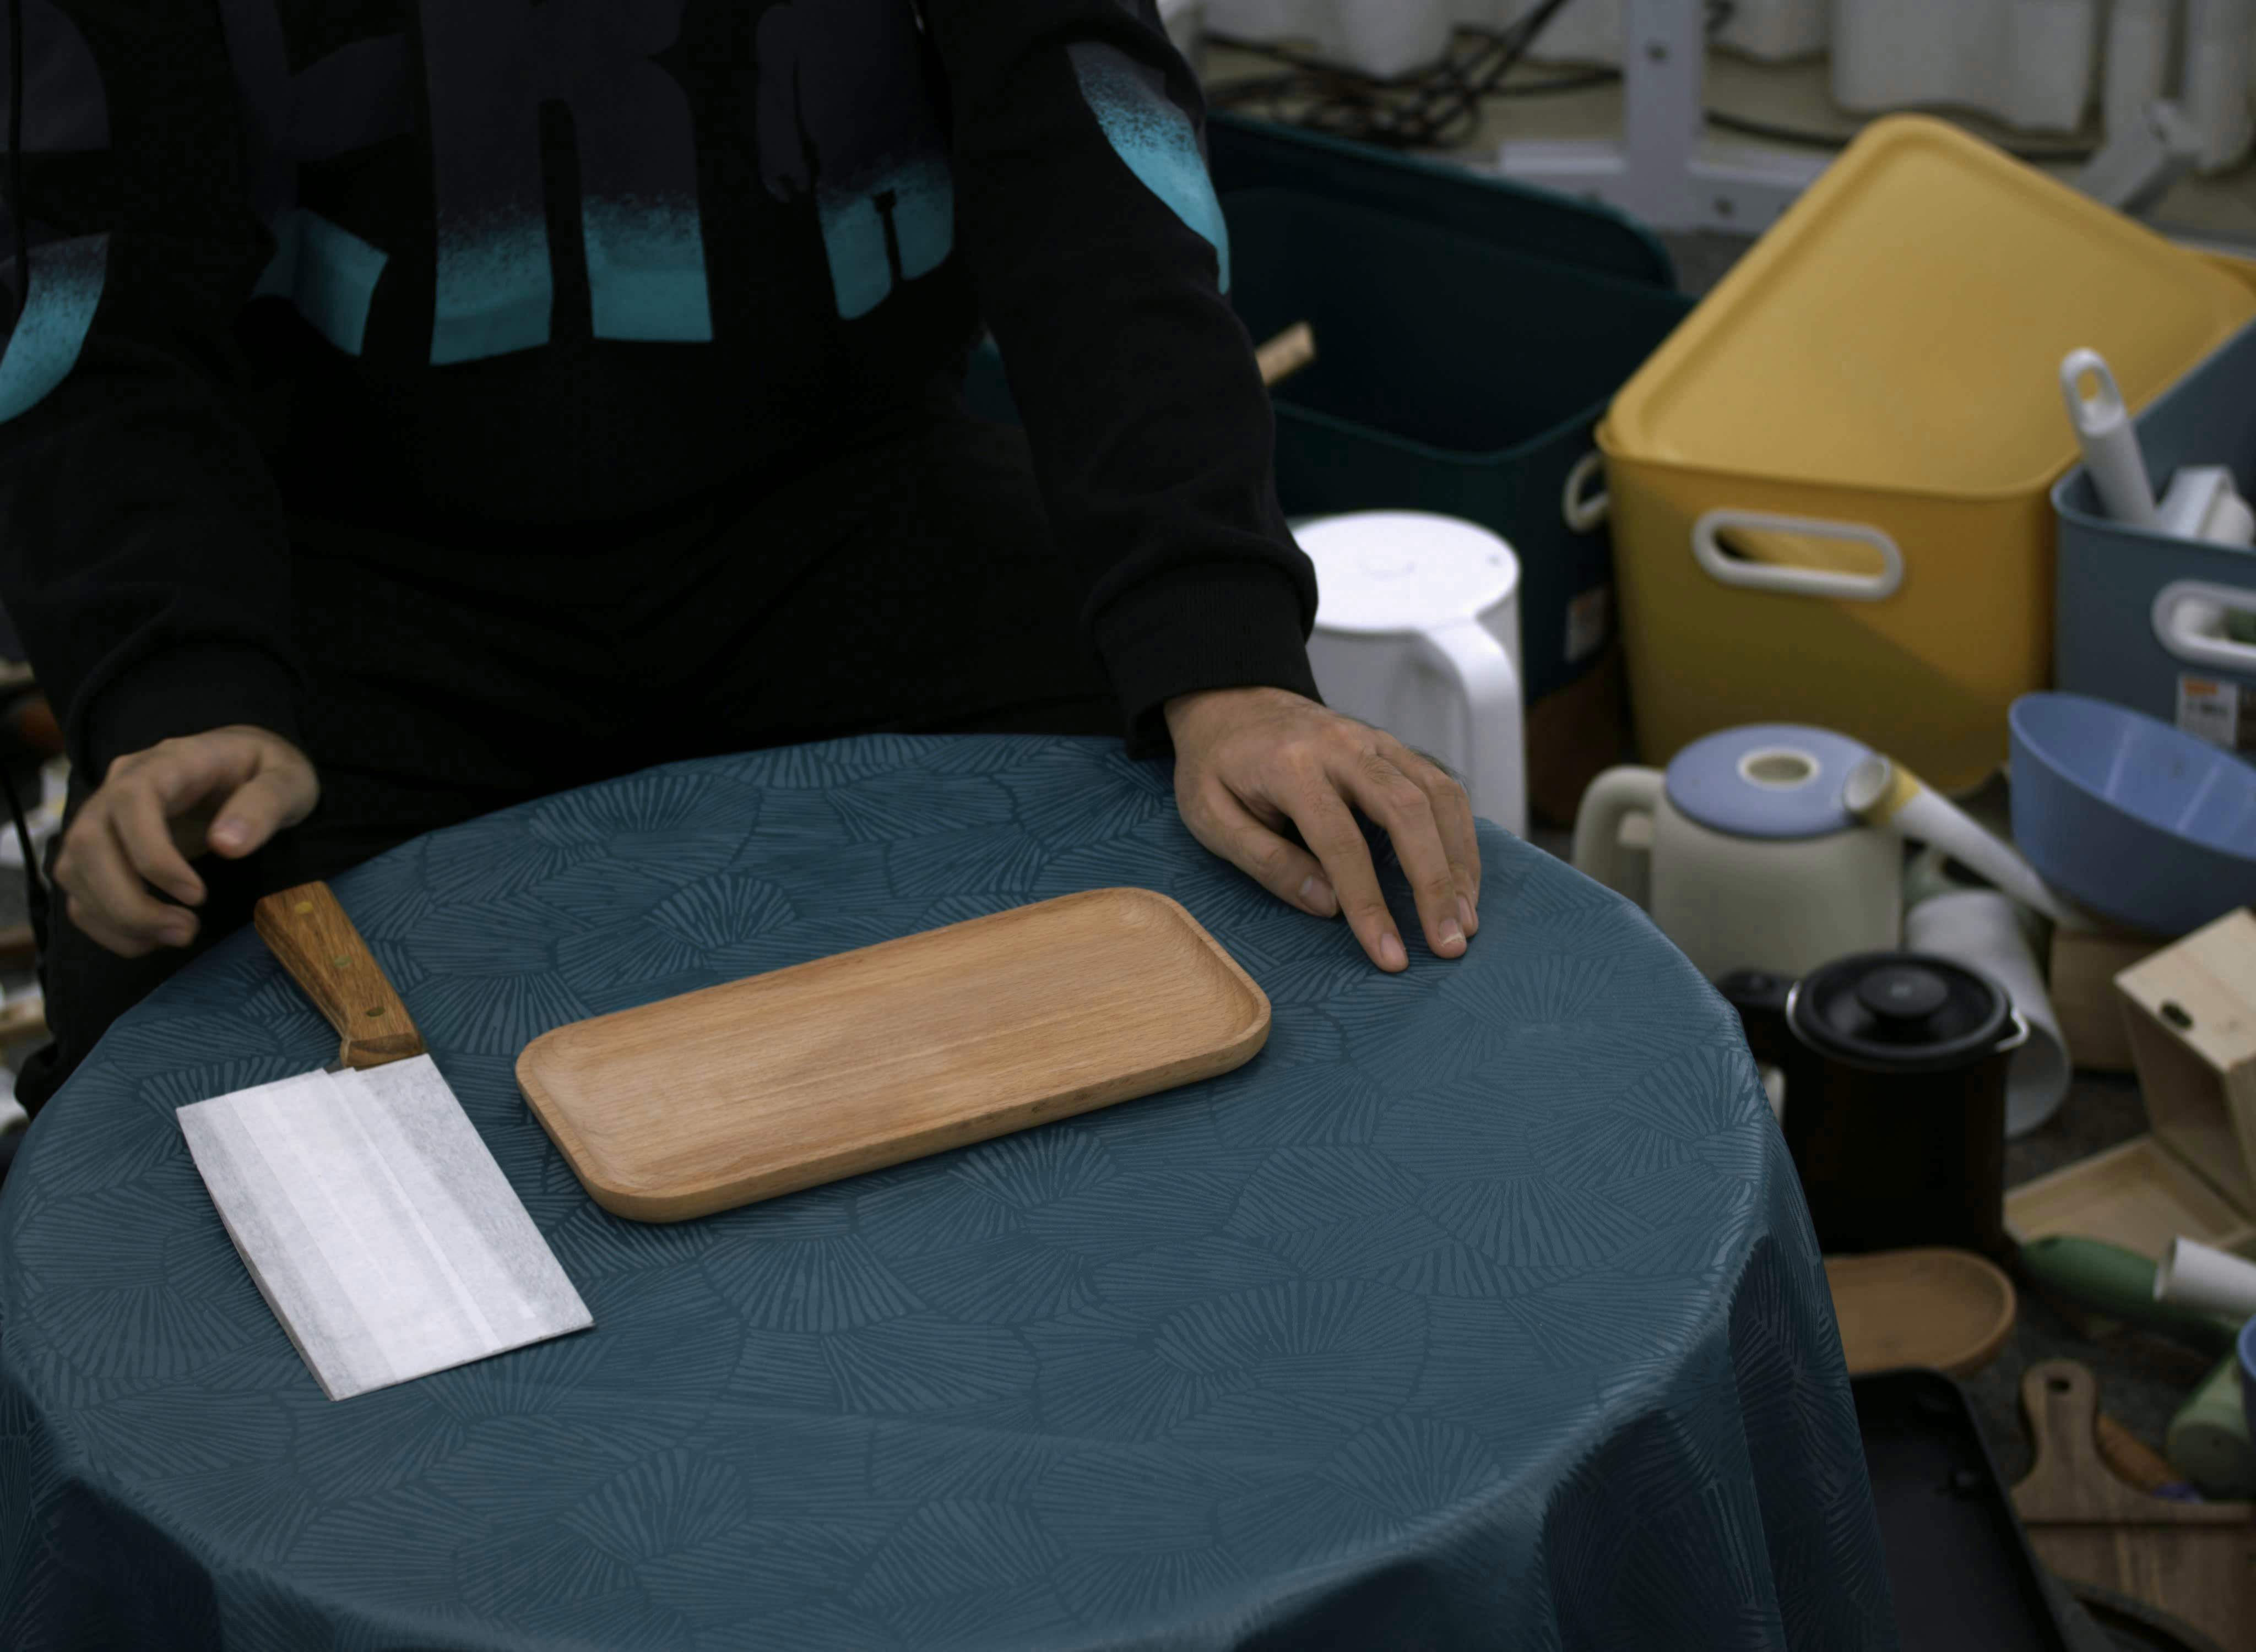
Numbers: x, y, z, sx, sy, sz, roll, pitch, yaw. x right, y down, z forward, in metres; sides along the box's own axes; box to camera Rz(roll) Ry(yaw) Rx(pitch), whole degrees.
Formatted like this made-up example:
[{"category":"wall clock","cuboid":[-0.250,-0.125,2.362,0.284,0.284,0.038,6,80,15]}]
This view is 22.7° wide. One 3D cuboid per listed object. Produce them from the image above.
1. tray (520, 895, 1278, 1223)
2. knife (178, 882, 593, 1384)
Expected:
[{"category":"tray","cuboid":[-0.079,0.079,1.935,0.251,0.022,0.131,-12,31,-19]},{"category":"knife","cuboid":[-0.270,0.104,1.908,0.093,0.021,0.308,-15,32,-19]}]
